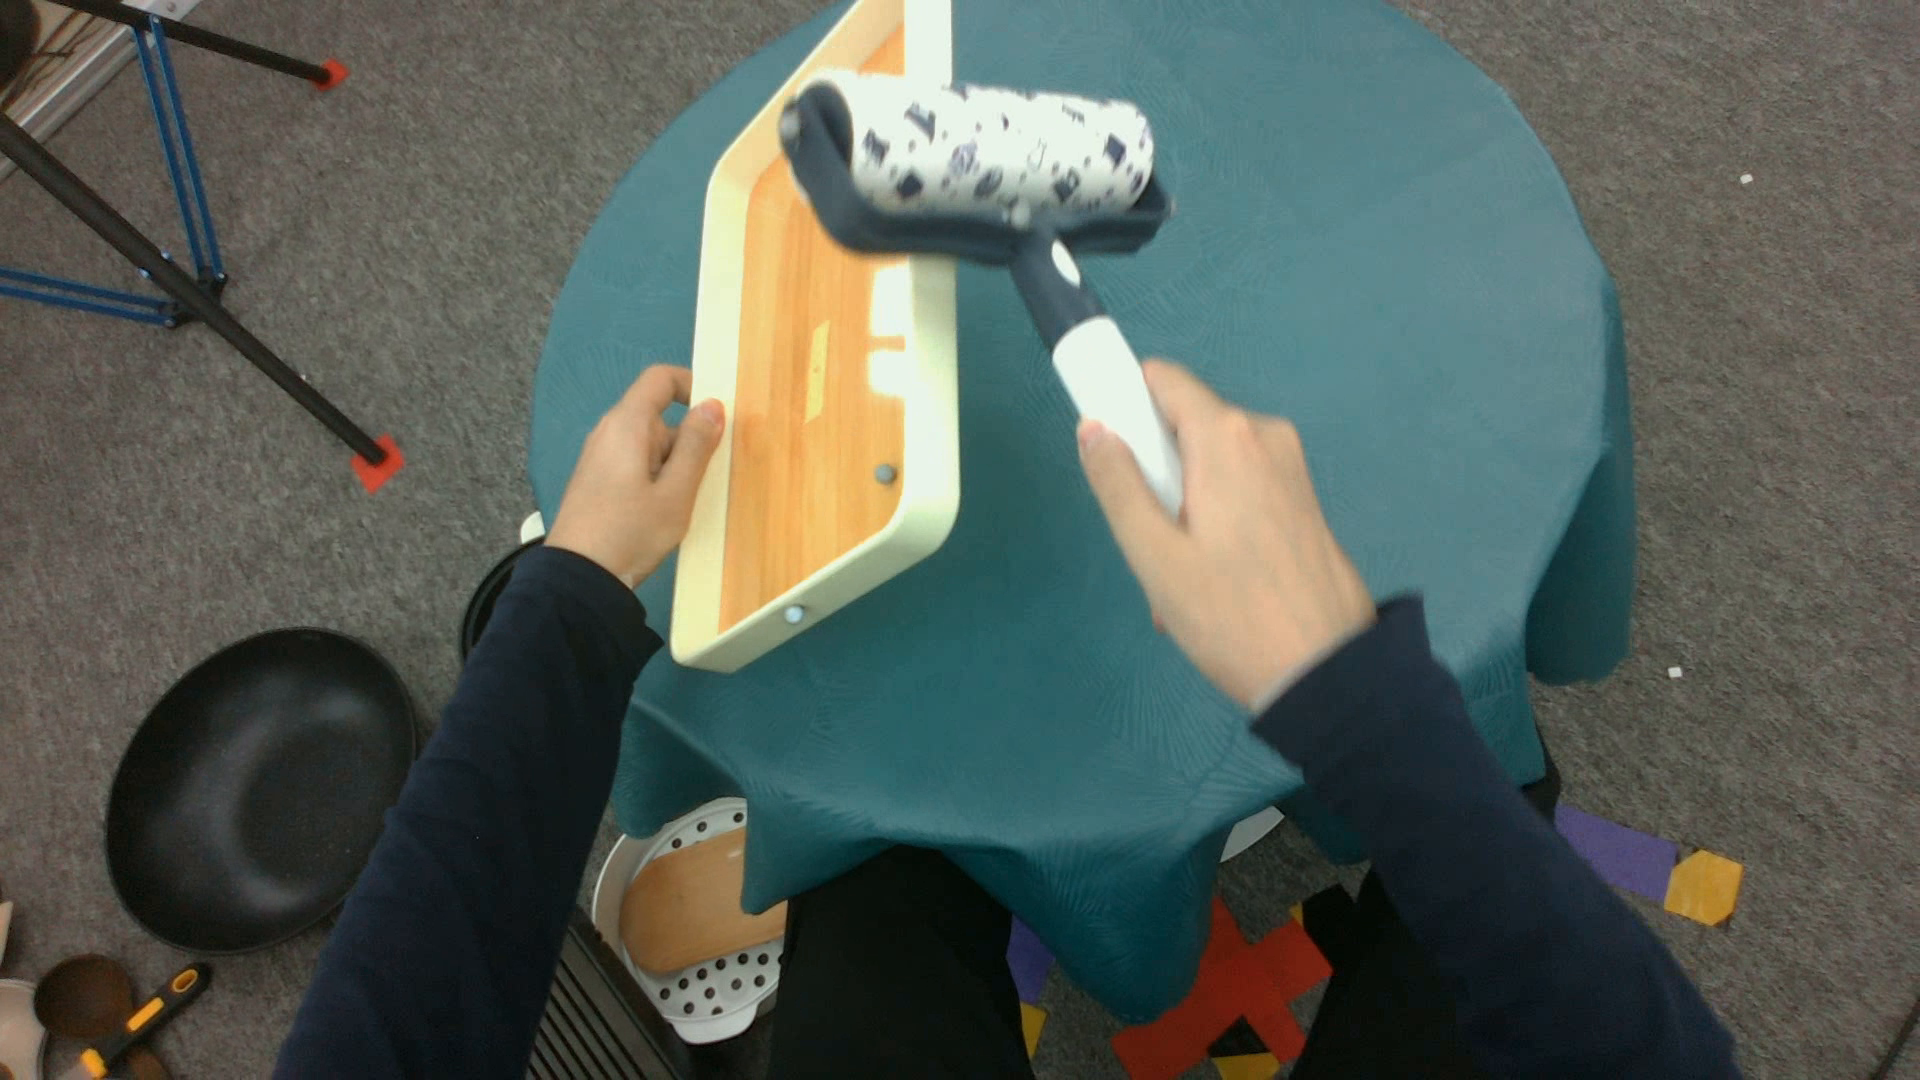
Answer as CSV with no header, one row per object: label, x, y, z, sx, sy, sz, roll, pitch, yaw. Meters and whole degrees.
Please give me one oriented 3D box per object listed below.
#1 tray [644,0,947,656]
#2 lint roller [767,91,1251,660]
tray,-0.078,-0.111,0.634,0.190,0.027,0.301,-28,53,42
lint roller,0.048,-0.069,0.527,0.177,0.050,0.247,-13,66,-43
